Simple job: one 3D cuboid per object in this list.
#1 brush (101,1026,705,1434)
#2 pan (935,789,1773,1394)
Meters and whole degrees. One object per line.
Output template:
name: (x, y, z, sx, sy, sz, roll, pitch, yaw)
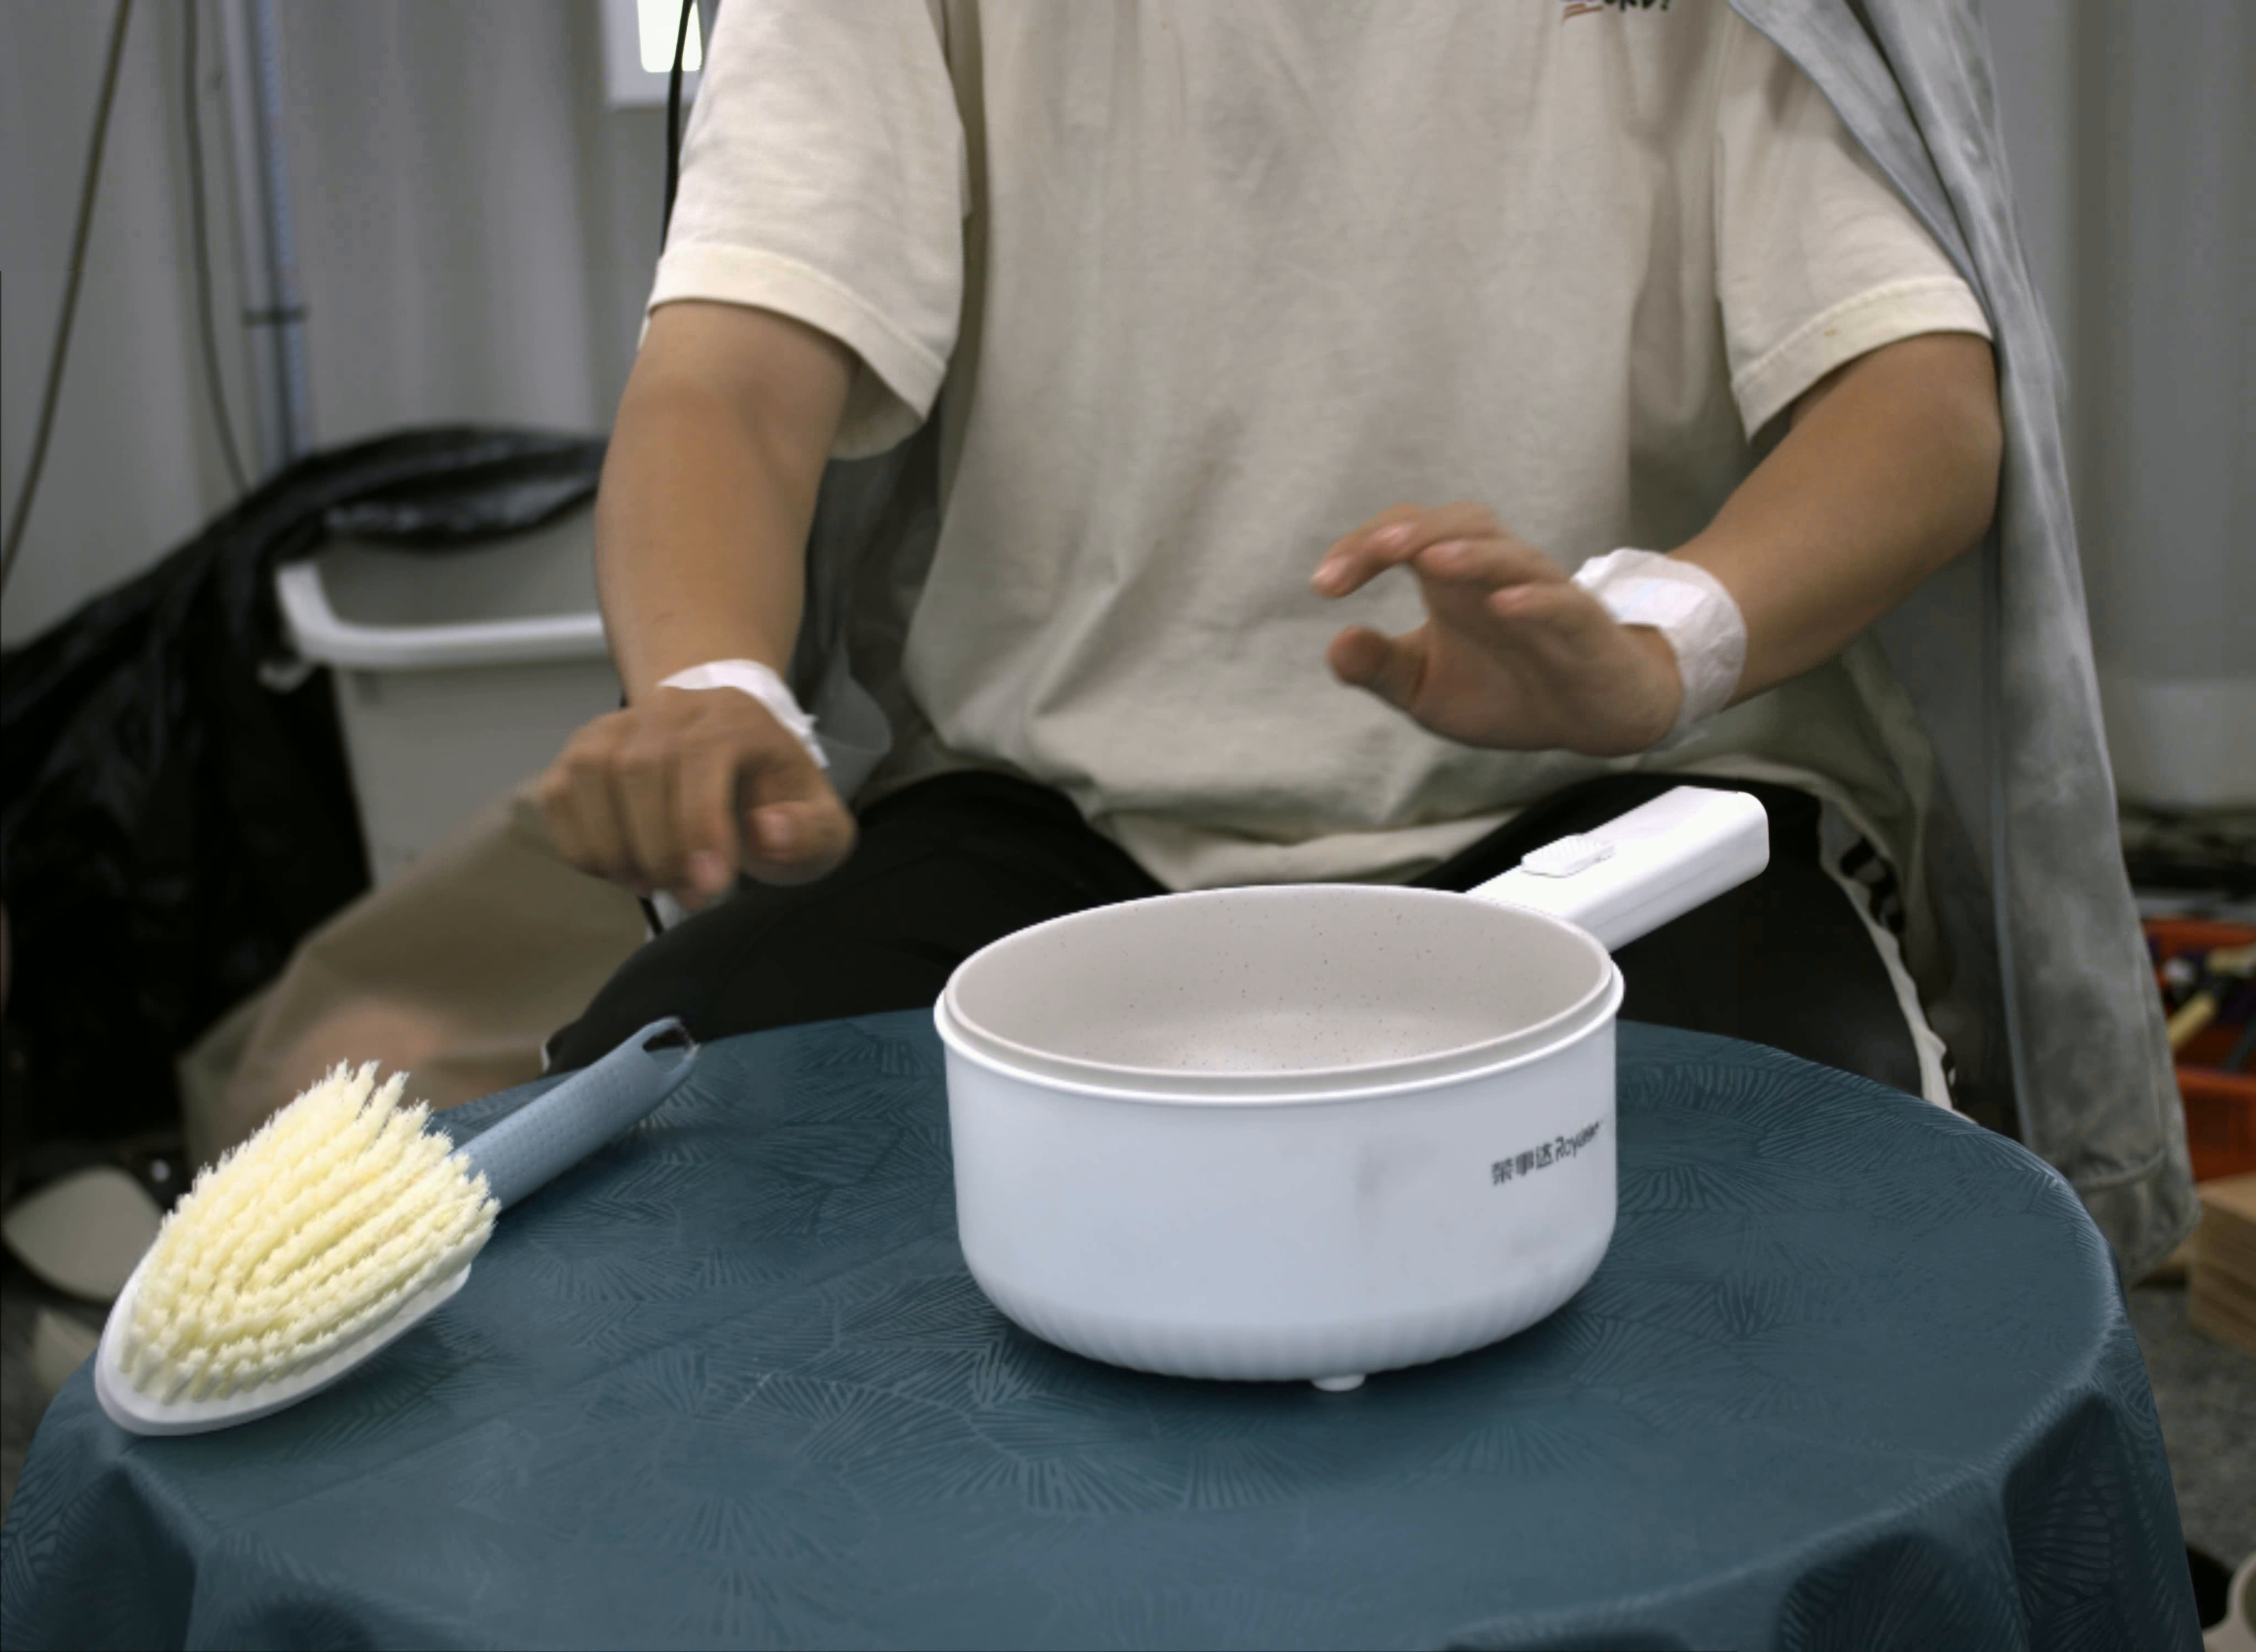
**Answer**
brush: (-0.200, 0.096, 1.667, 0.084, 0.083, 0.326, -4, 14, 27)
pan: (0.091, 0.075, 1.662, 0.202, 0.102, 0.354, 7, 17, 35)
